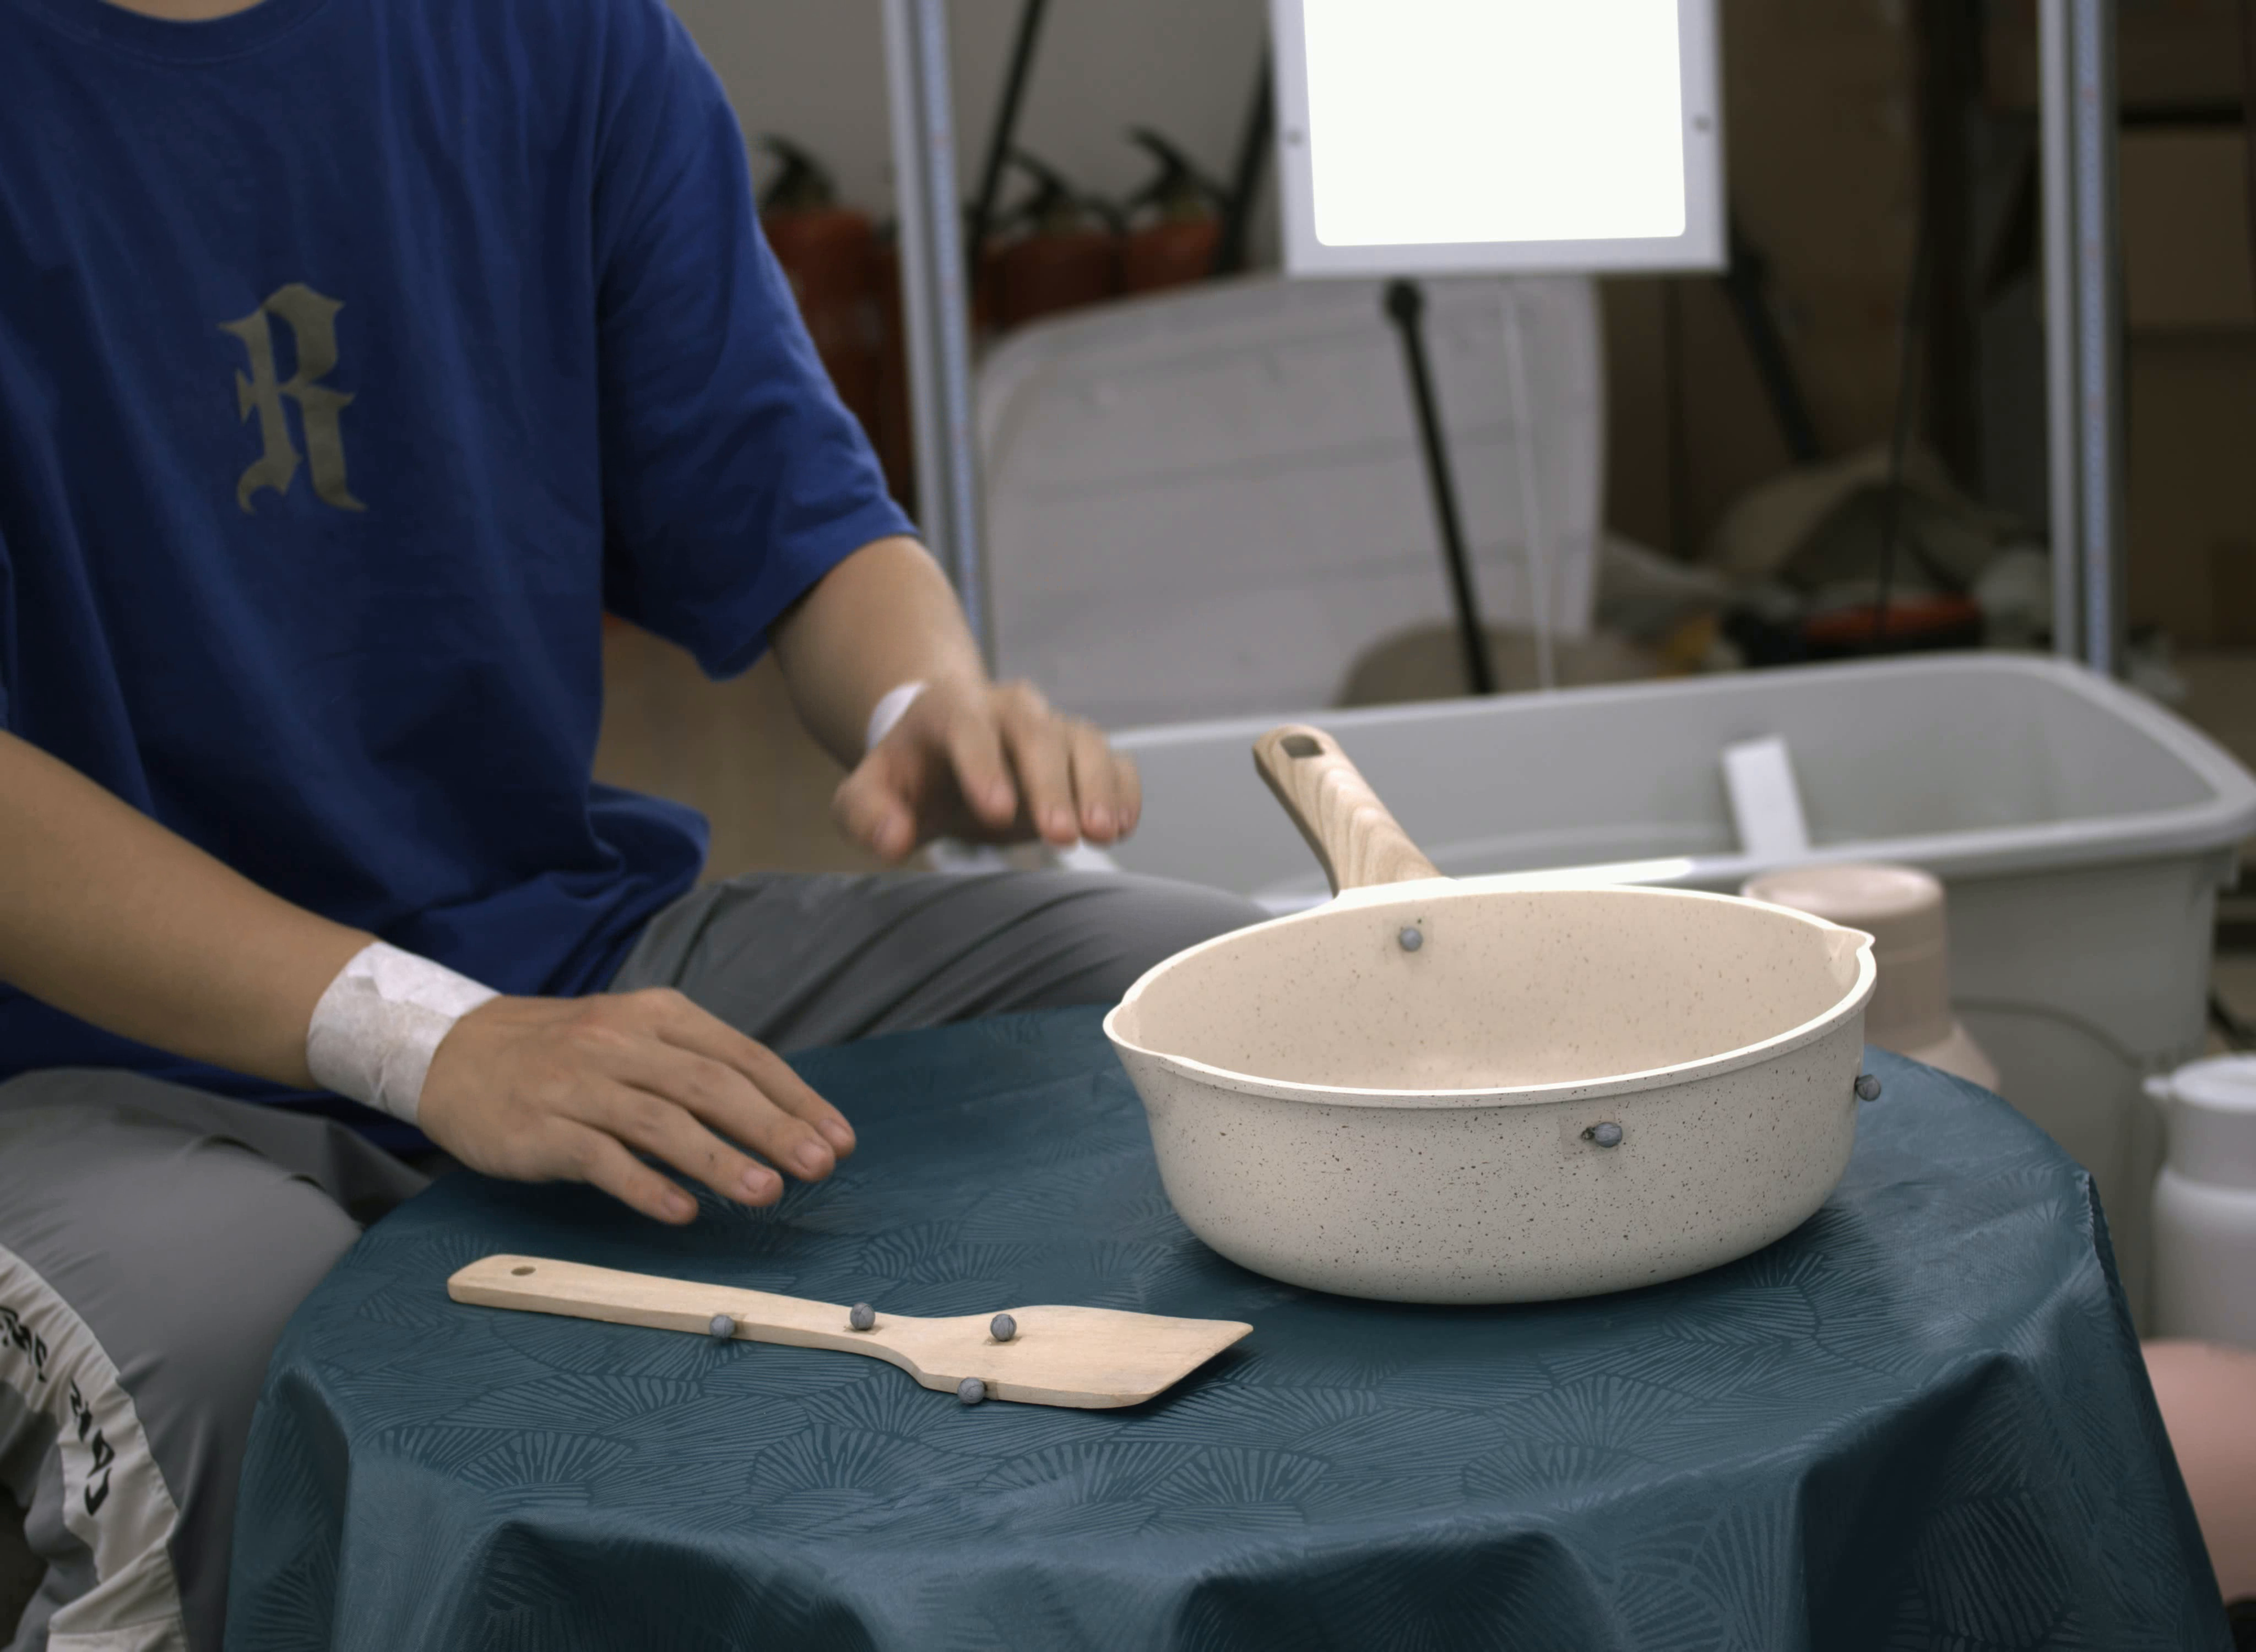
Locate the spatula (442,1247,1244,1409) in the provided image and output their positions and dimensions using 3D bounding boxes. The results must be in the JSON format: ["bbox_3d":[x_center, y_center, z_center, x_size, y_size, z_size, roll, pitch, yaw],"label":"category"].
[{"bbox_3d":[-0.103,0.159,1.781,0.299,0.011,0.070,4,18,33],"label":"spatula"}]

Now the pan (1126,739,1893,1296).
[{"bbox_3d":[0.111,0.061,1.912,0.260,0.102,0.438,-9,14,-10],"label":"pan"}]
